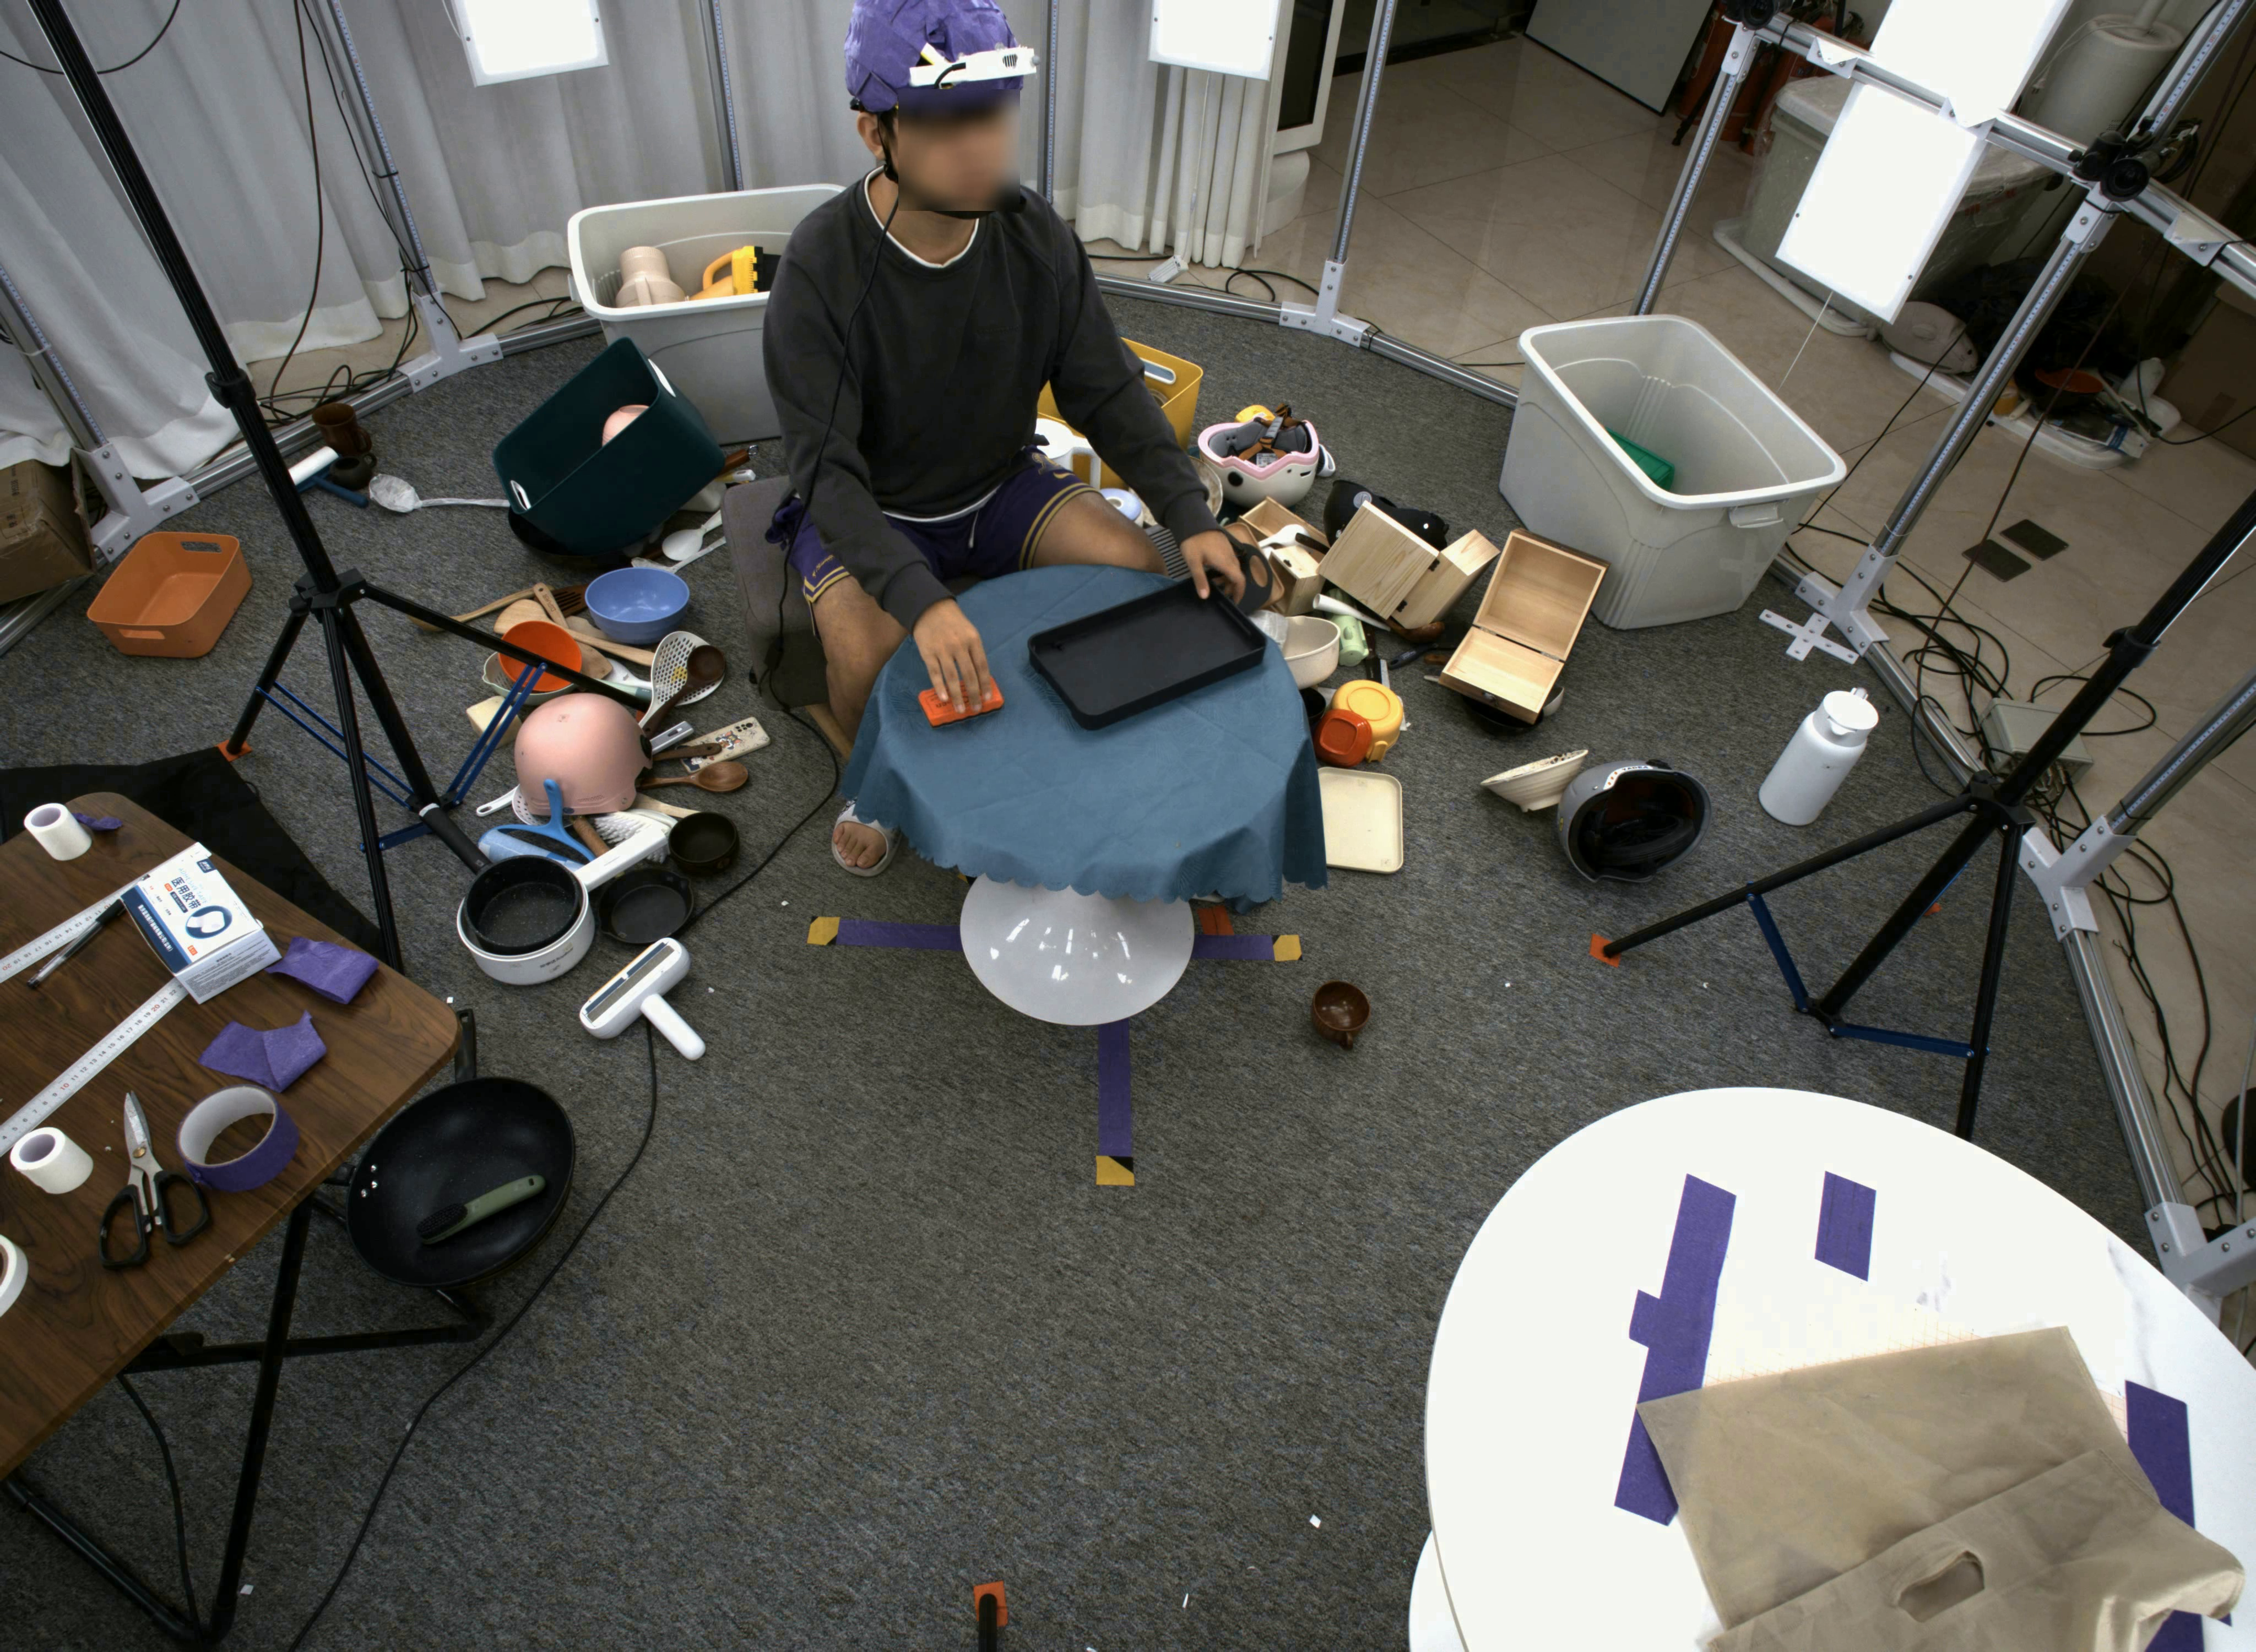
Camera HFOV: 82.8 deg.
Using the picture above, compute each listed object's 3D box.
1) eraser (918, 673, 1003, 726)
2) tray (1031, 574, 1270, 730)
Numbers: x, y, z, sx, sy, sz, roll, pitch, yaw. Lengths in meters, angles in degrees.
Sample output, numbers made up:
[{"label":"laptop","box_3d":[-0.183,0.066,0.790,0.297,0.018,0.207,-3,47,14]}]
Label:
[{"label":"eraser","box_3d":[-0.232,-0.176,1.785,0.108,0.022,0.060,-19,46,-18]},{"label":"tray","box_3d":[0.034,-0.258,1.871,0.319,0.036,0.188,-25,55,-23]}]
